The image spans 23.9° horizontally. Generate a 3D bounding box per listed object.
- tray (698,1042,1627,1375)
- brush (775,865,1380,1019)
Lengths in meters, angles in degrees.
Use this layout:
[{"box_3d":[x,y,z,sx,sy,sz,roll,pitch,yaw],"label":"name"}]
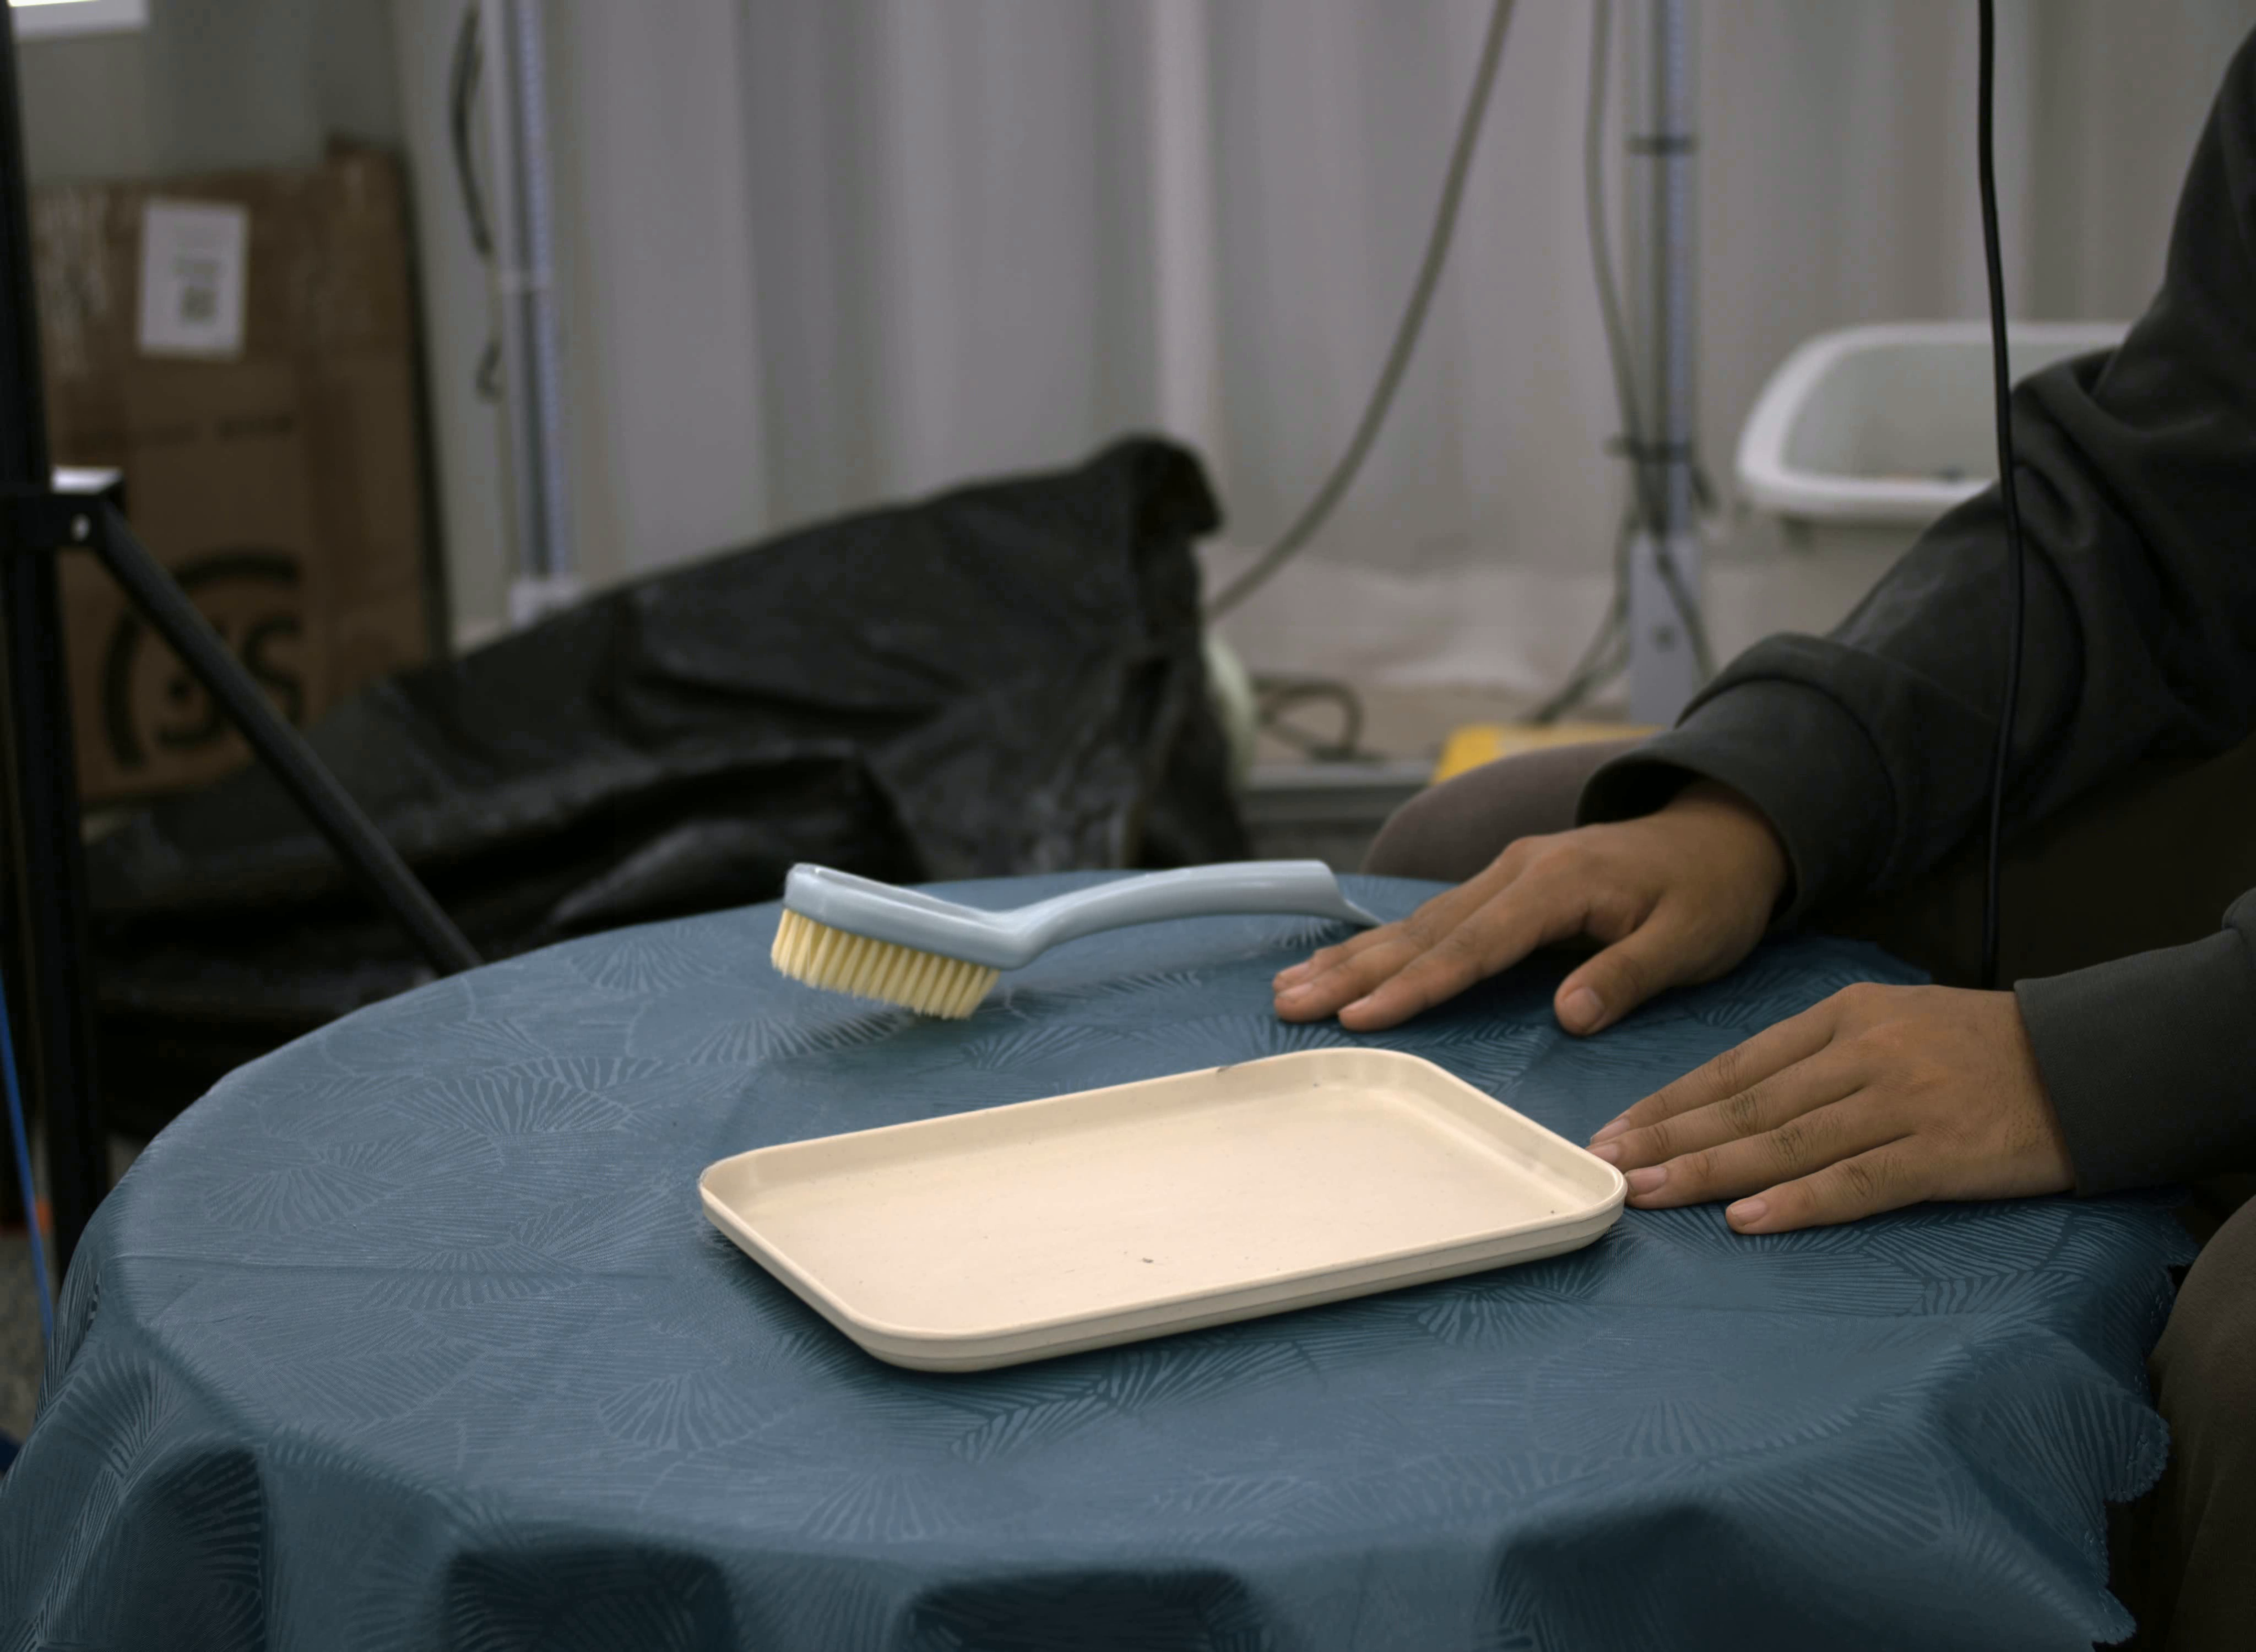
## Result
[{"box_3d":[0.009,0.109,1.520,0.235,0.017,0.174,-9,18,-22],"label":"tray"},{"box_3d":[-0.015,0.037,1.753,0.223,0.050,0.038,-2,19,-31],"label":"brush"}]
